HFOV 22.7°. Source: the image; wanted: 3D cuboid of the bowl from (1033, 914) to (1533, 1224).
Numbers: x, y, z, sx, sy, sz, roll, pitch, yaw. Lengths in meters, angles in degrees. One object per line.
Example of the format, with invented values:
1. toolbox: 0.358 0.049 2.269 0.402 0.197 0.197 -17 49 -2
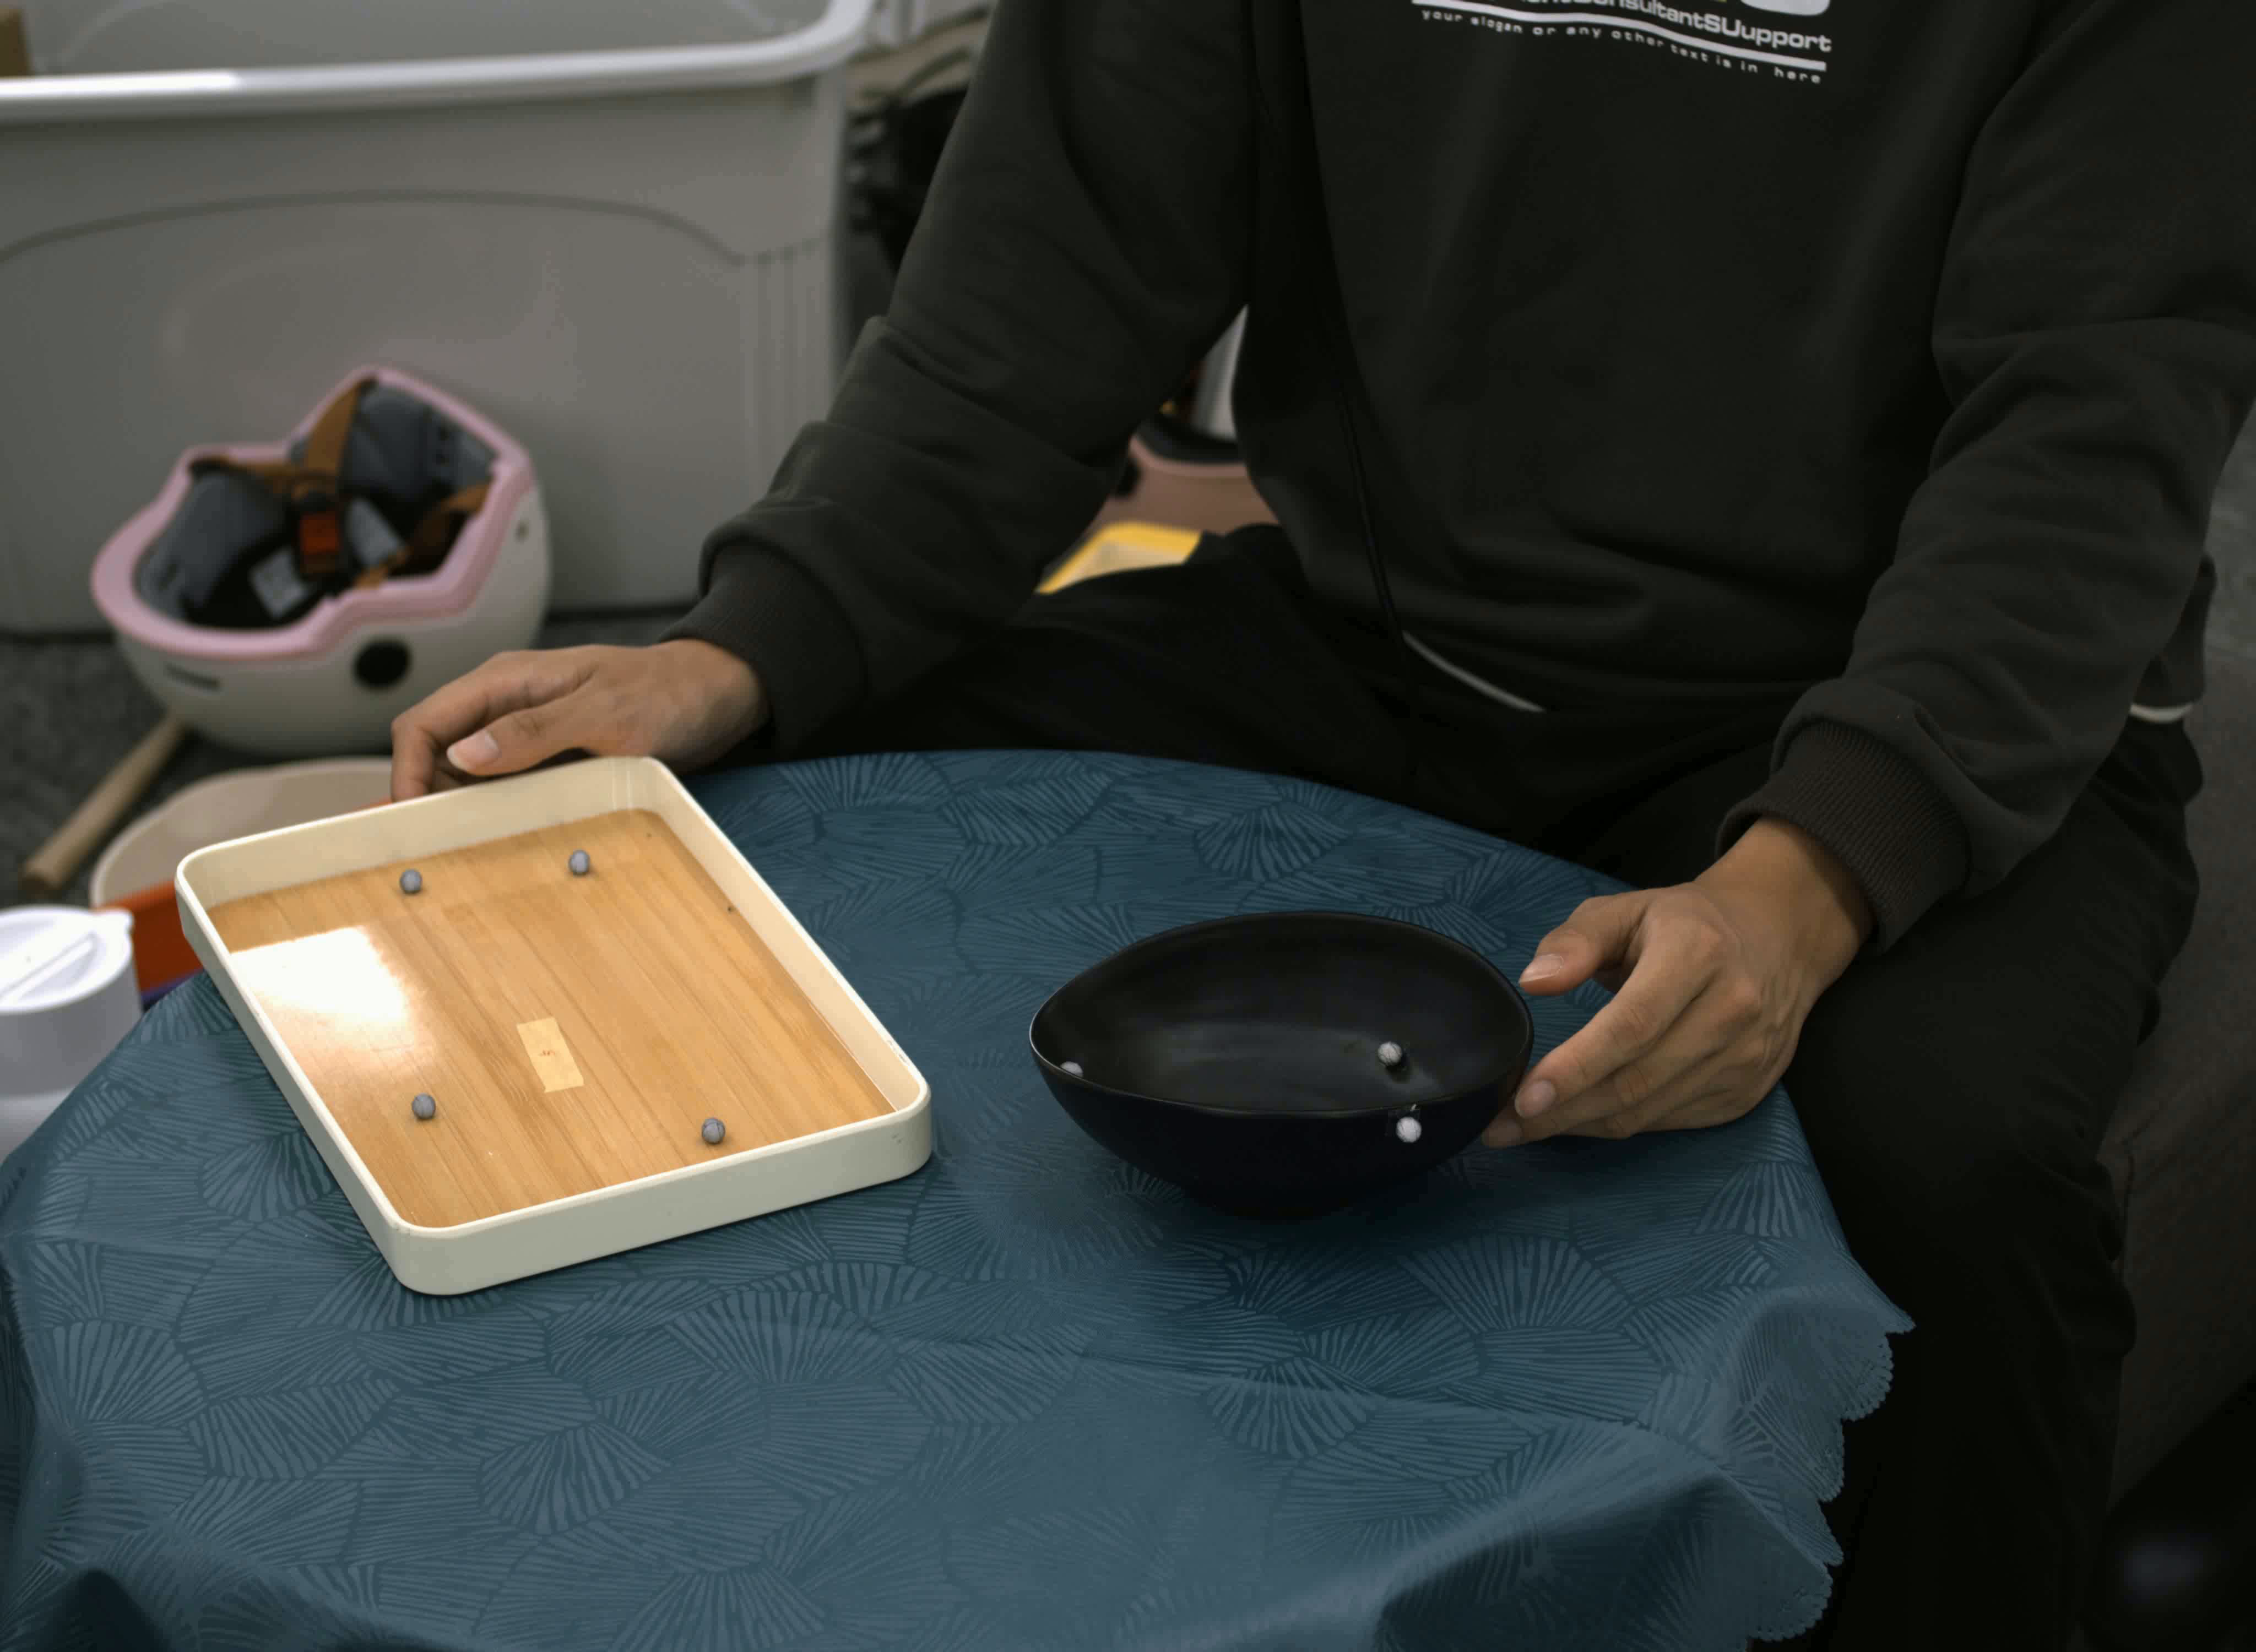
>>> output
1. bowl: 0.050 0.089 1.859 0.169 0.066 0.139 4 26 15

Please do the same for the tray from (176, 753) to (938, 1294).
1. tray: -0.204 0.064 1.965 0.192 0.027 0.302 -14 30 -20
